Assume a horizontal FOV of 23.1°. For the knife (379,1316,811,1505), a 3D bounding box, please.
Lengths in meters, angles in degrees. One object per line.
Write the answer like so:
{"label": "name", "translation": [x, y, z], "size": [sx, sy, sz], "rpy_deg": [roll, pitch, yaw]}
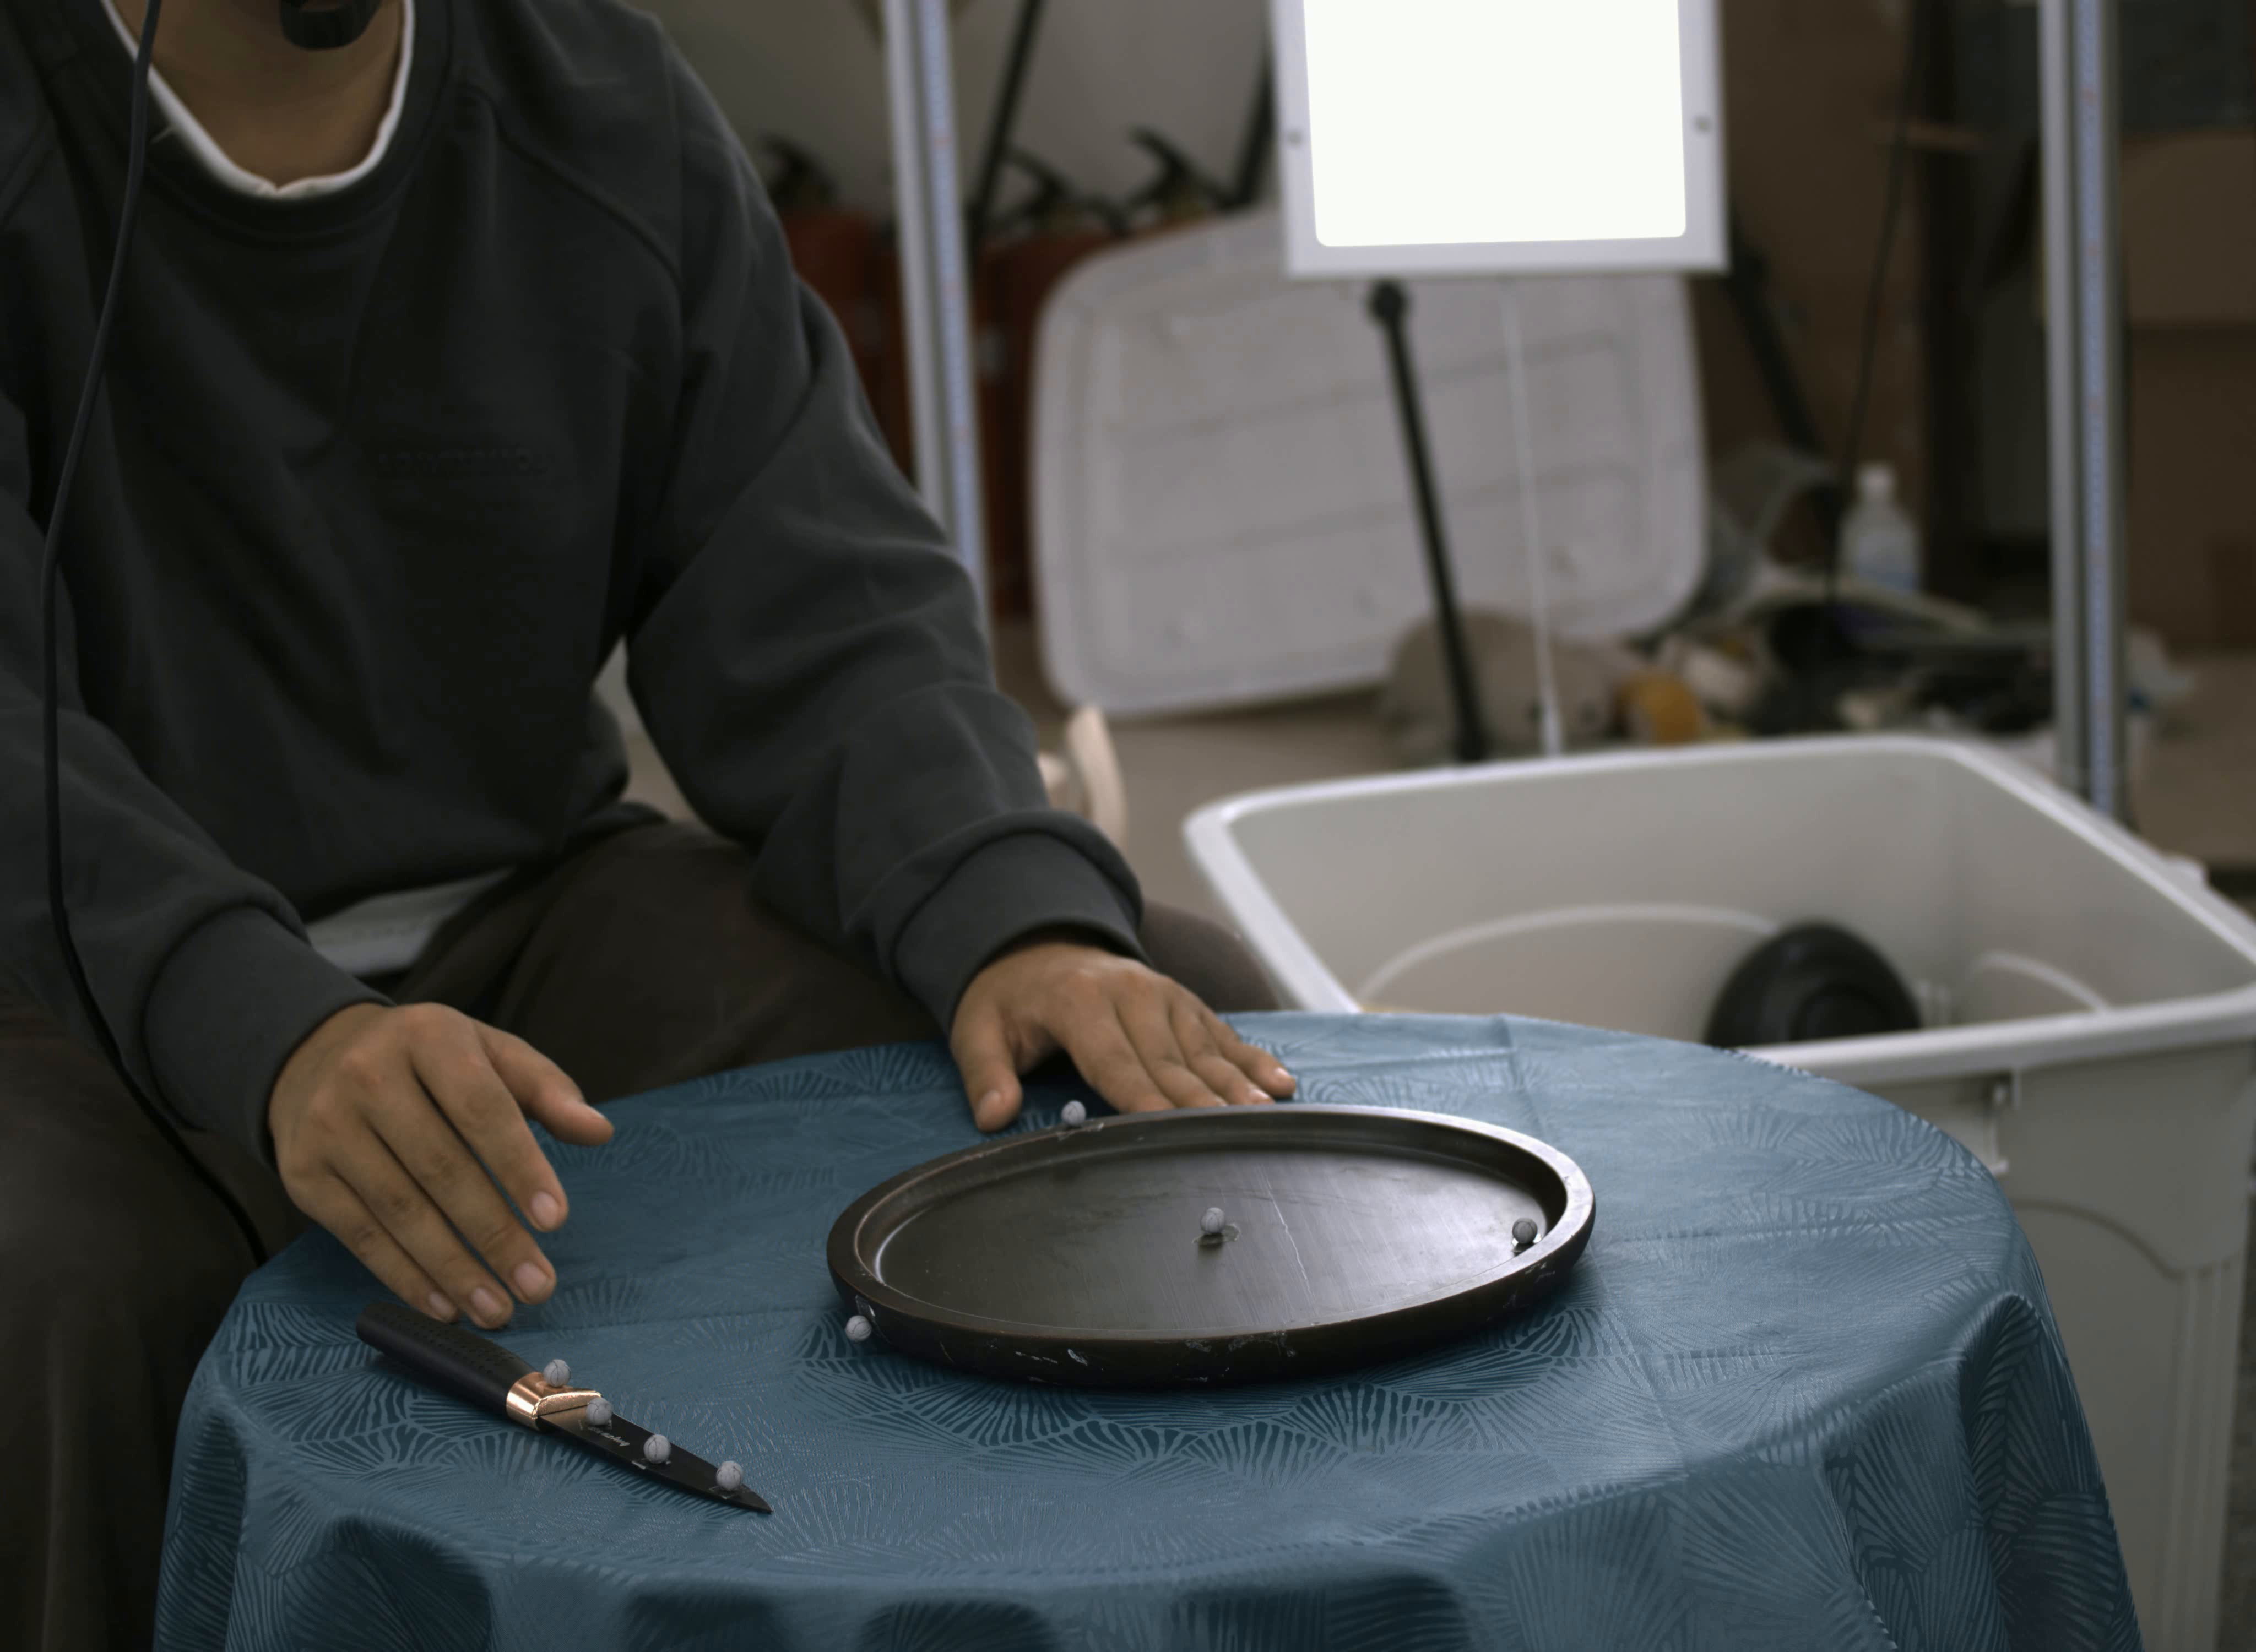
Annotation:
{"label": "knife", "translation": [-0.168, 0.182, 1.708], "size": [0.025, 0.017, 0.230], "rpy_deg": [-9, 14, -36]}

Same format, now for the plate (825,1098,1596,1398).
{"label": "plate", "translation": [0.027, 0.136, 1.801], "size": [0.254, 0.029, 0.254], "rpy_deg": [-6, 13, 0]}
